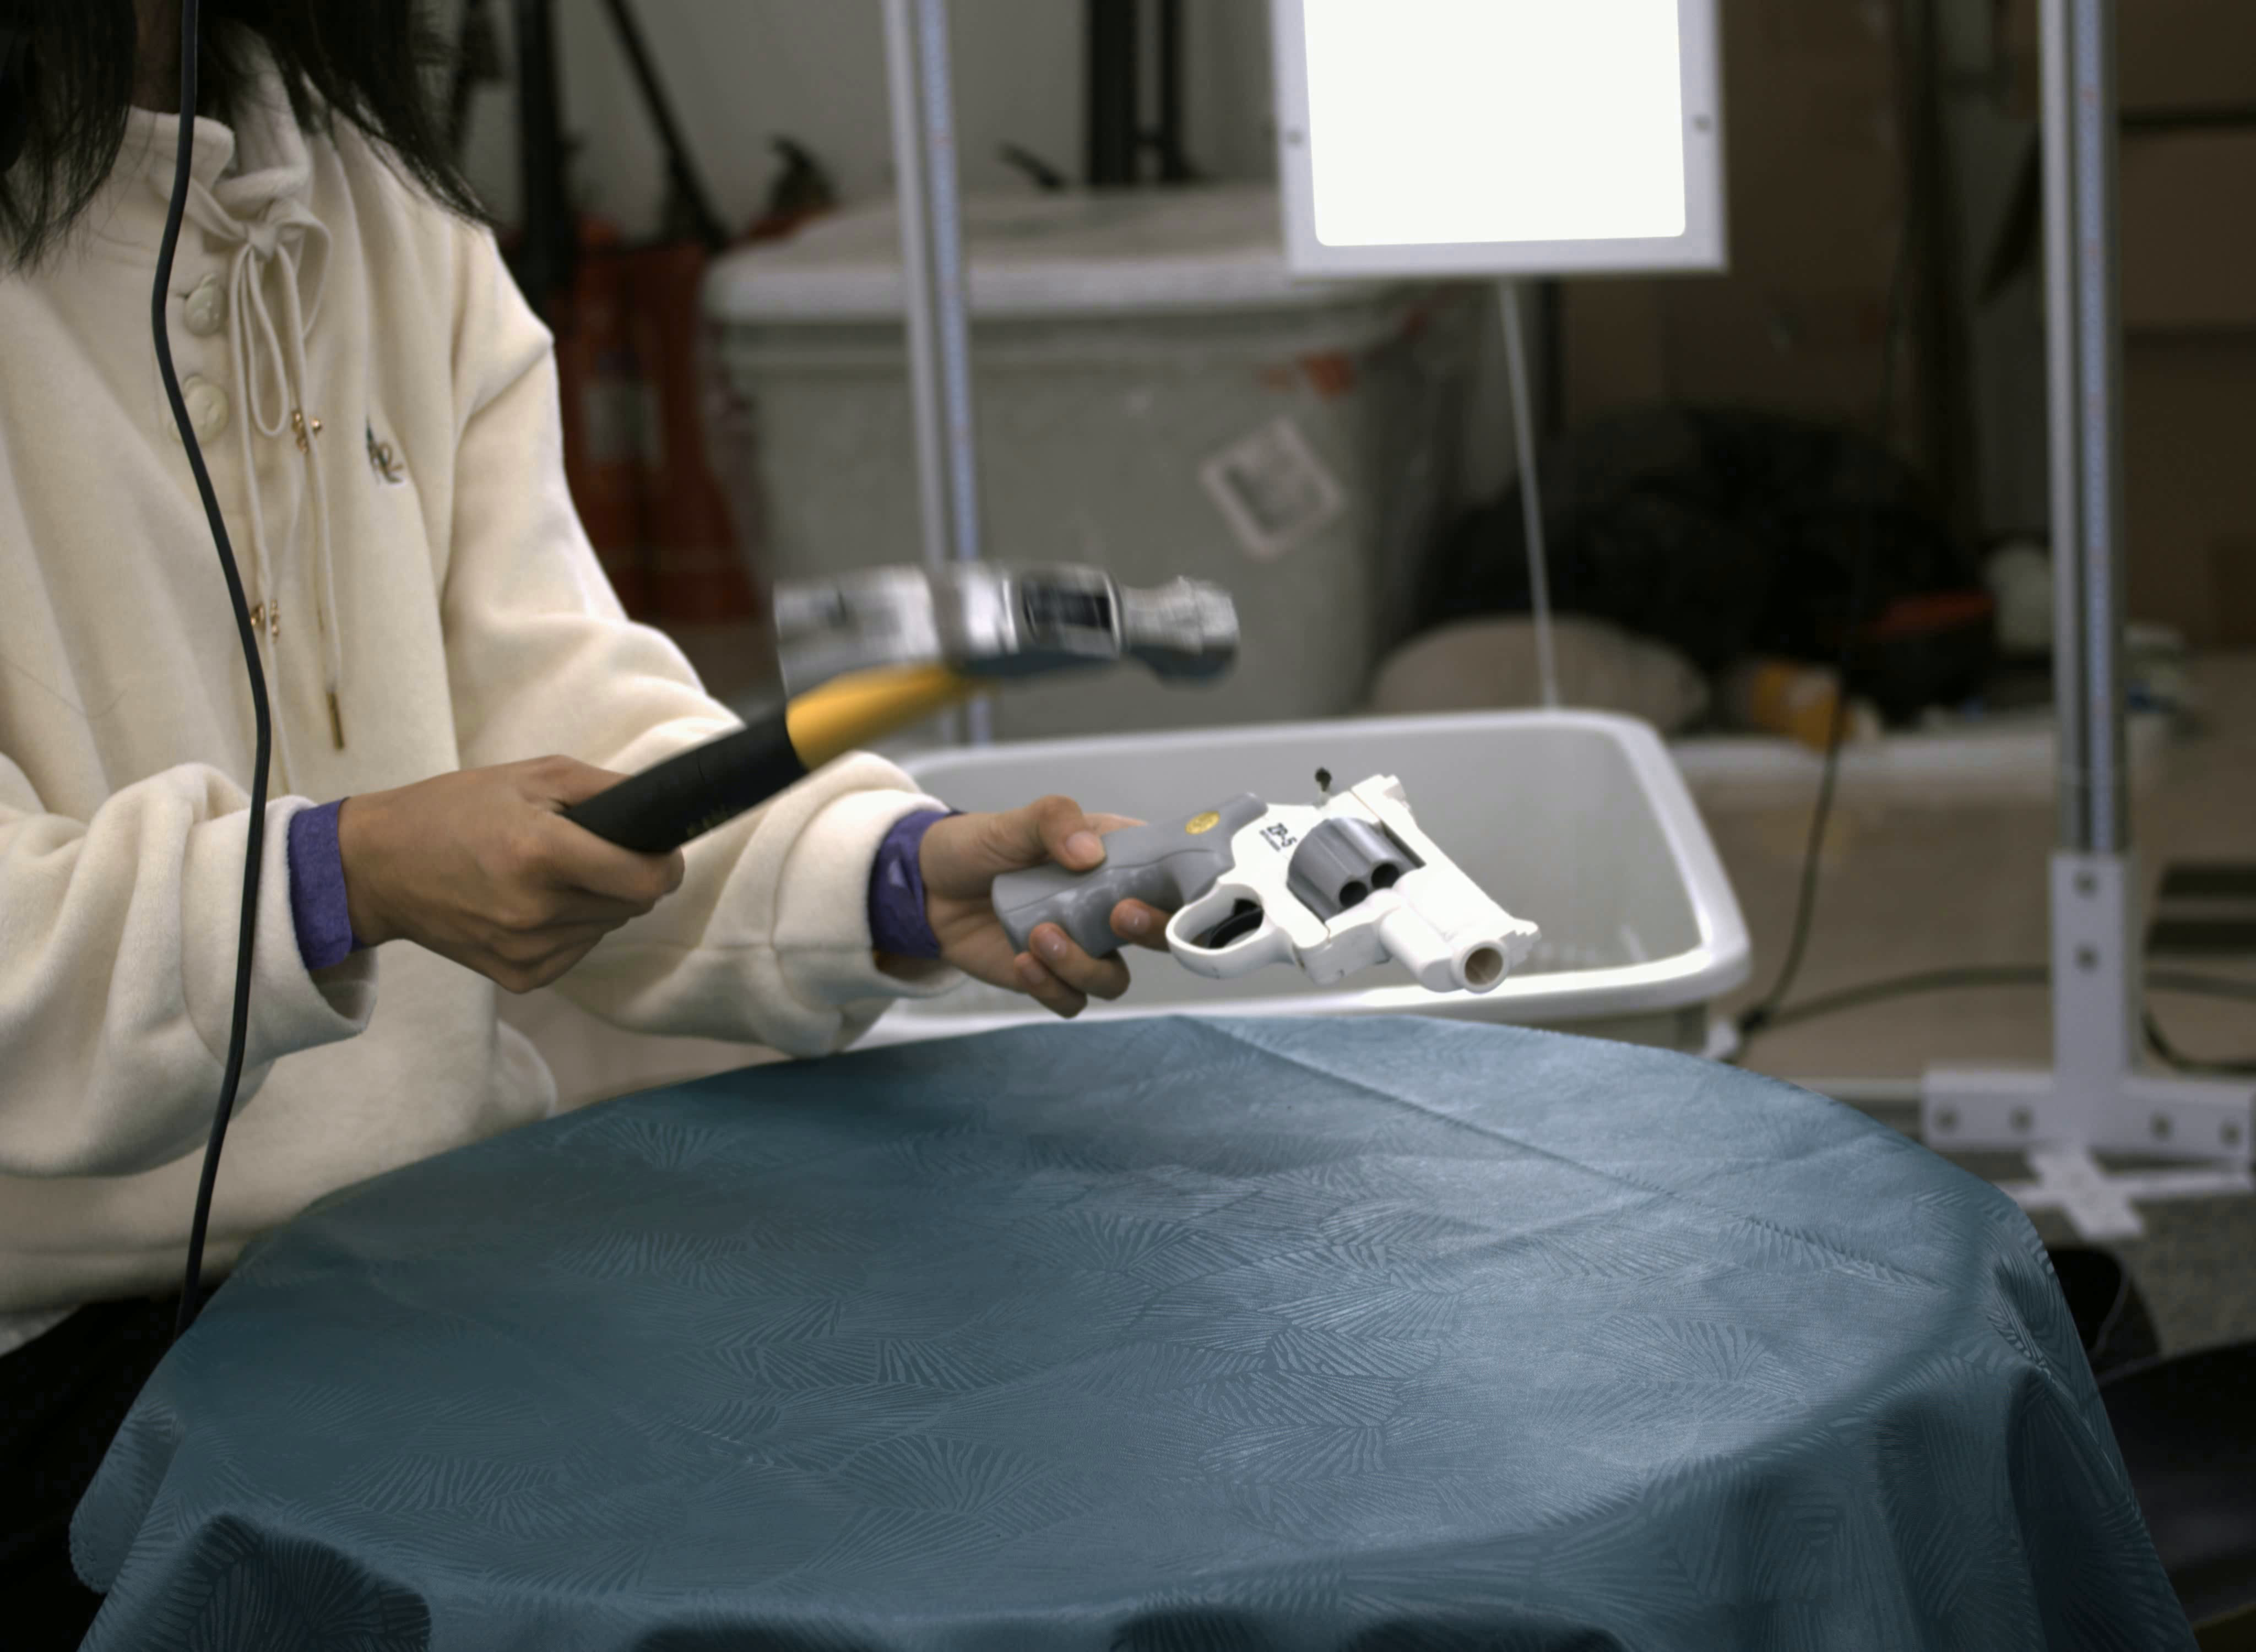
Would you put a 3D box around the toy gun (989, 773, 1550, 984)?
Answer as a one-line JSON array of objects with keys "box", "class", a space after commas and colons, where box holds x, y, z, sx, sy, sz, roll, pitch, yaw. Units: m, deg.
[{"box": [0.044, 0.030, 1.877, 0.140, 0.038, 0.211, -29, 27, -9], "class": "toy gun"}]

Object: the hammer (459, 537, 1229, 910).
[{"box": [-0.117, -0.030, 1.755, 0.128, 0.032, 0.346, 2, -17, -35], "class": "hammer"}]
